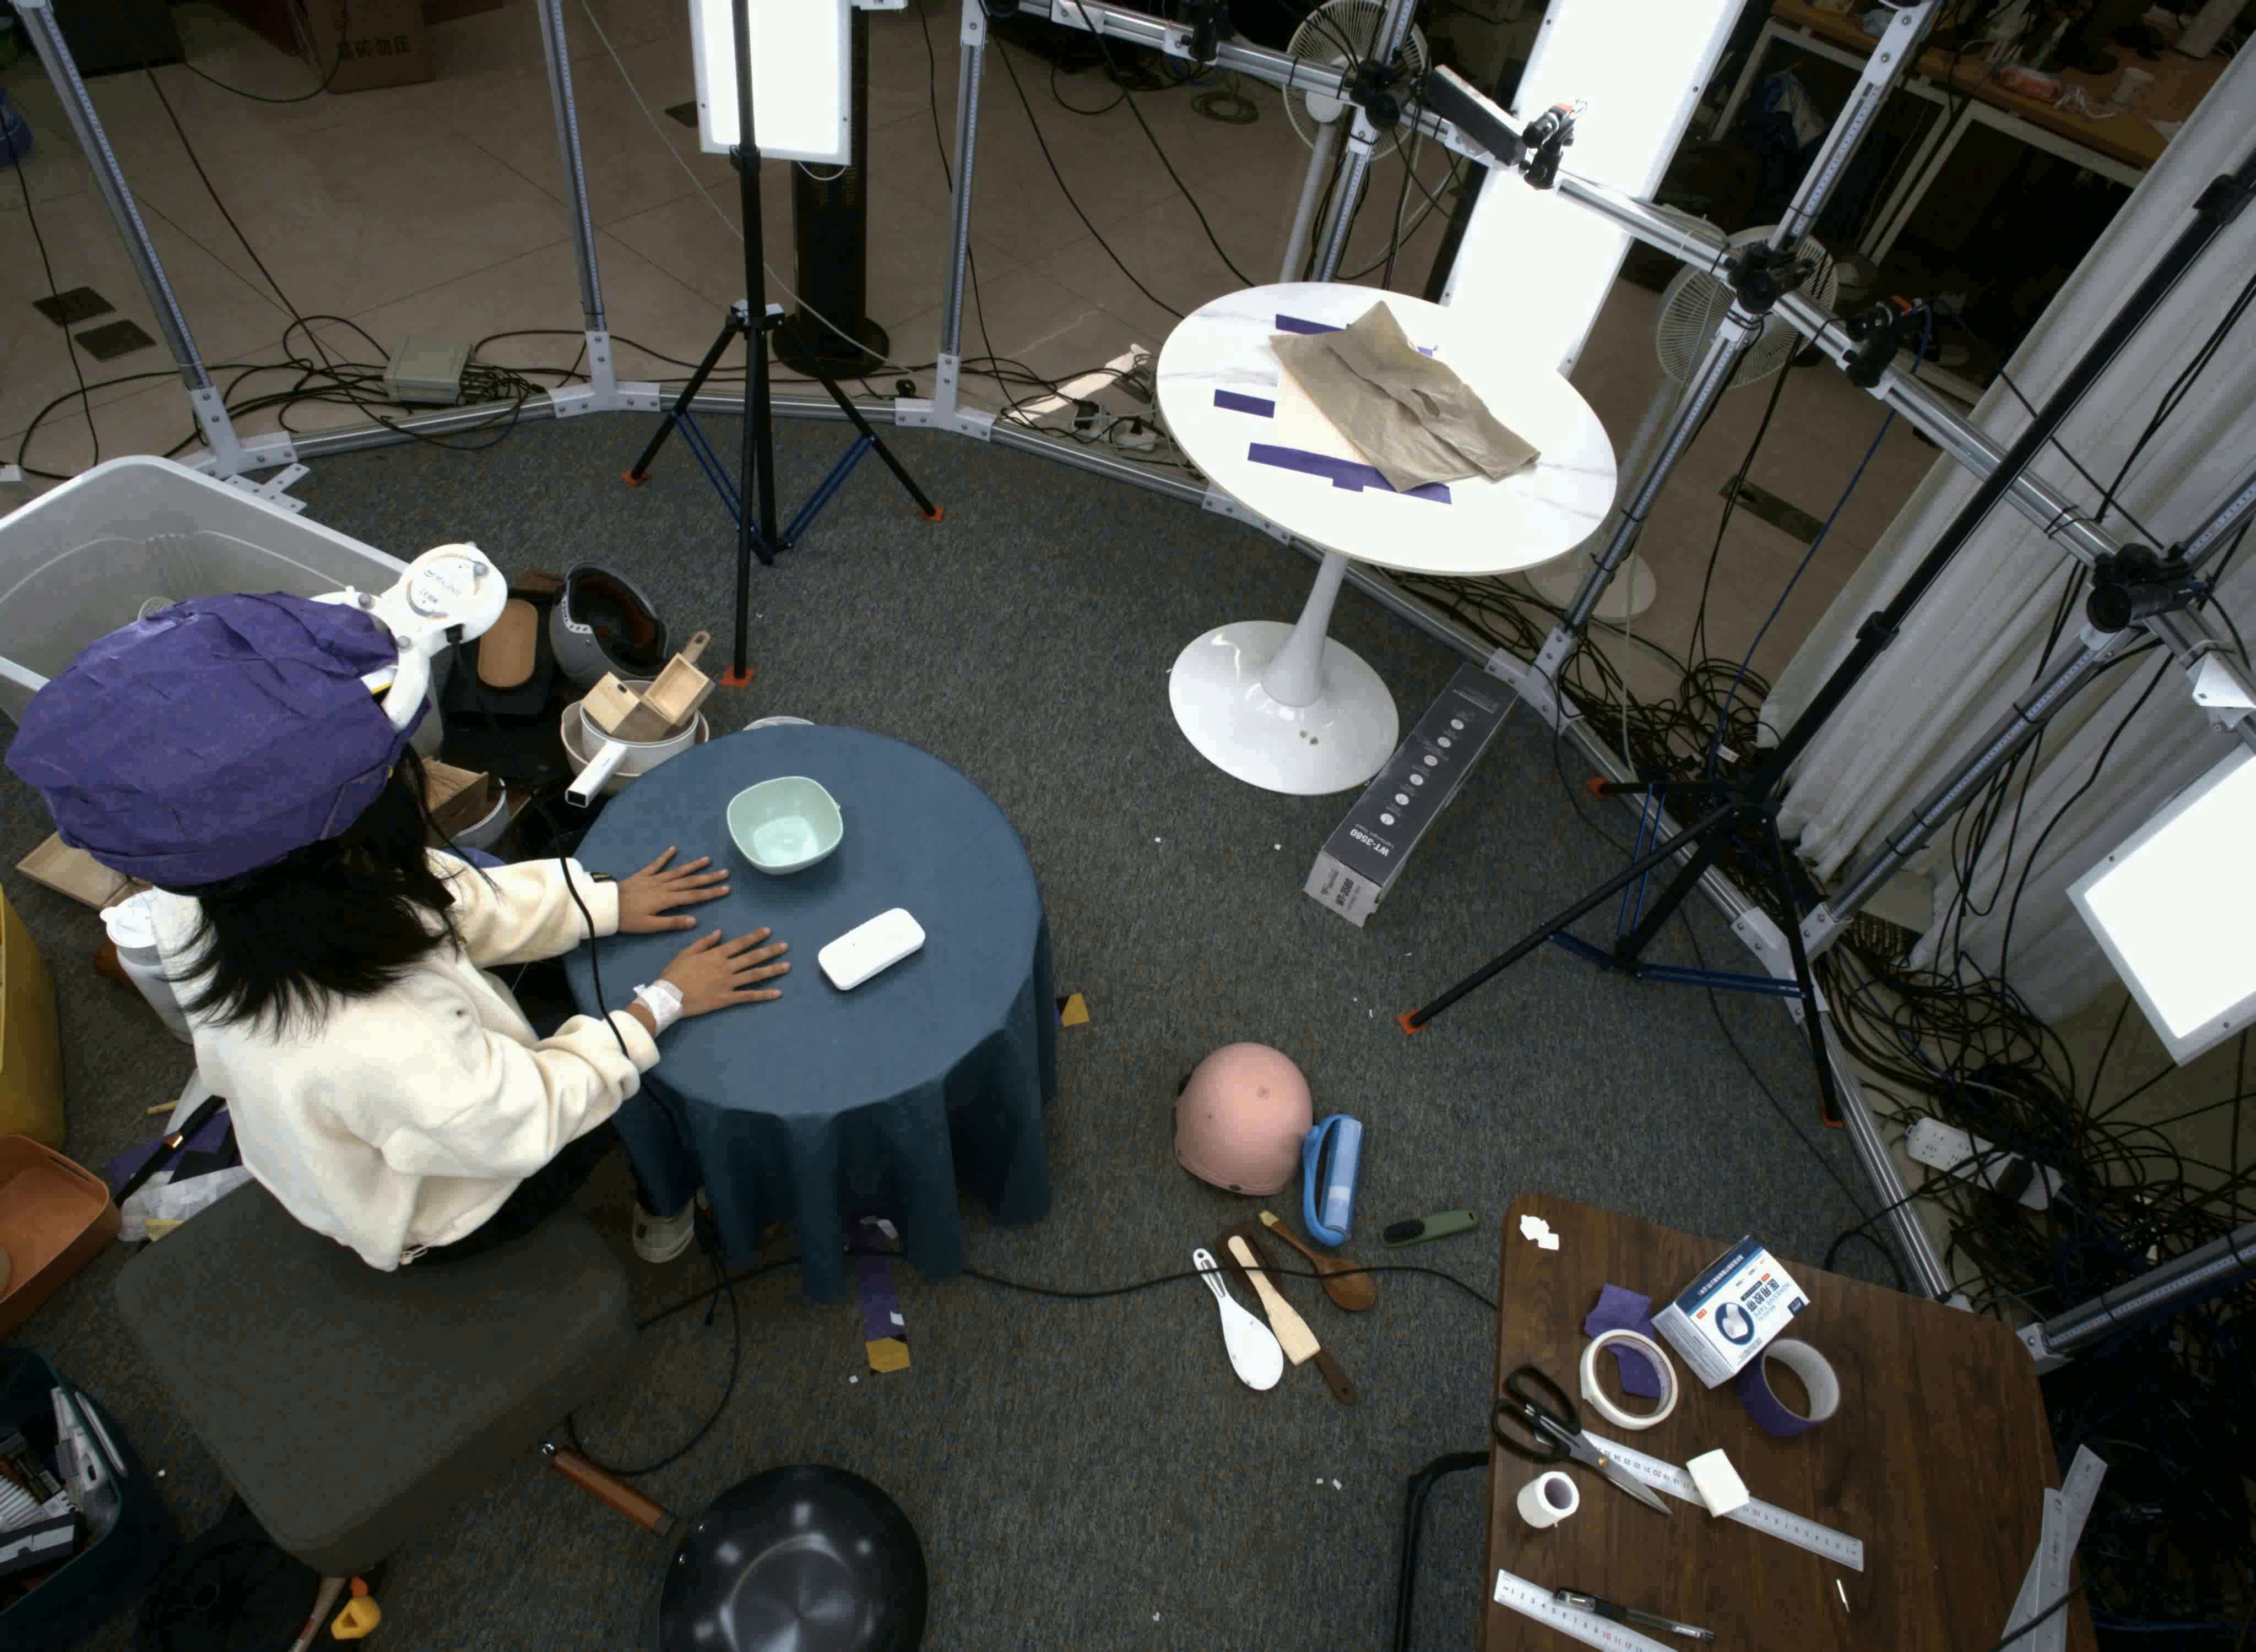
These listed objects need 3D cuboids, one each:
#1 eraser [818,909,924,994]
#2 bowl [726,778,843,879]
[{"bbox_3d":[-0.319,0.151,1.614,0.132,0.035,0.062,-30,66,-32],"label":"eraser"},{"bbox_3d":[-0.442,0.012,1.673,0.151,0.060,0.149,6,53,-7],"label":"bowl"}]
